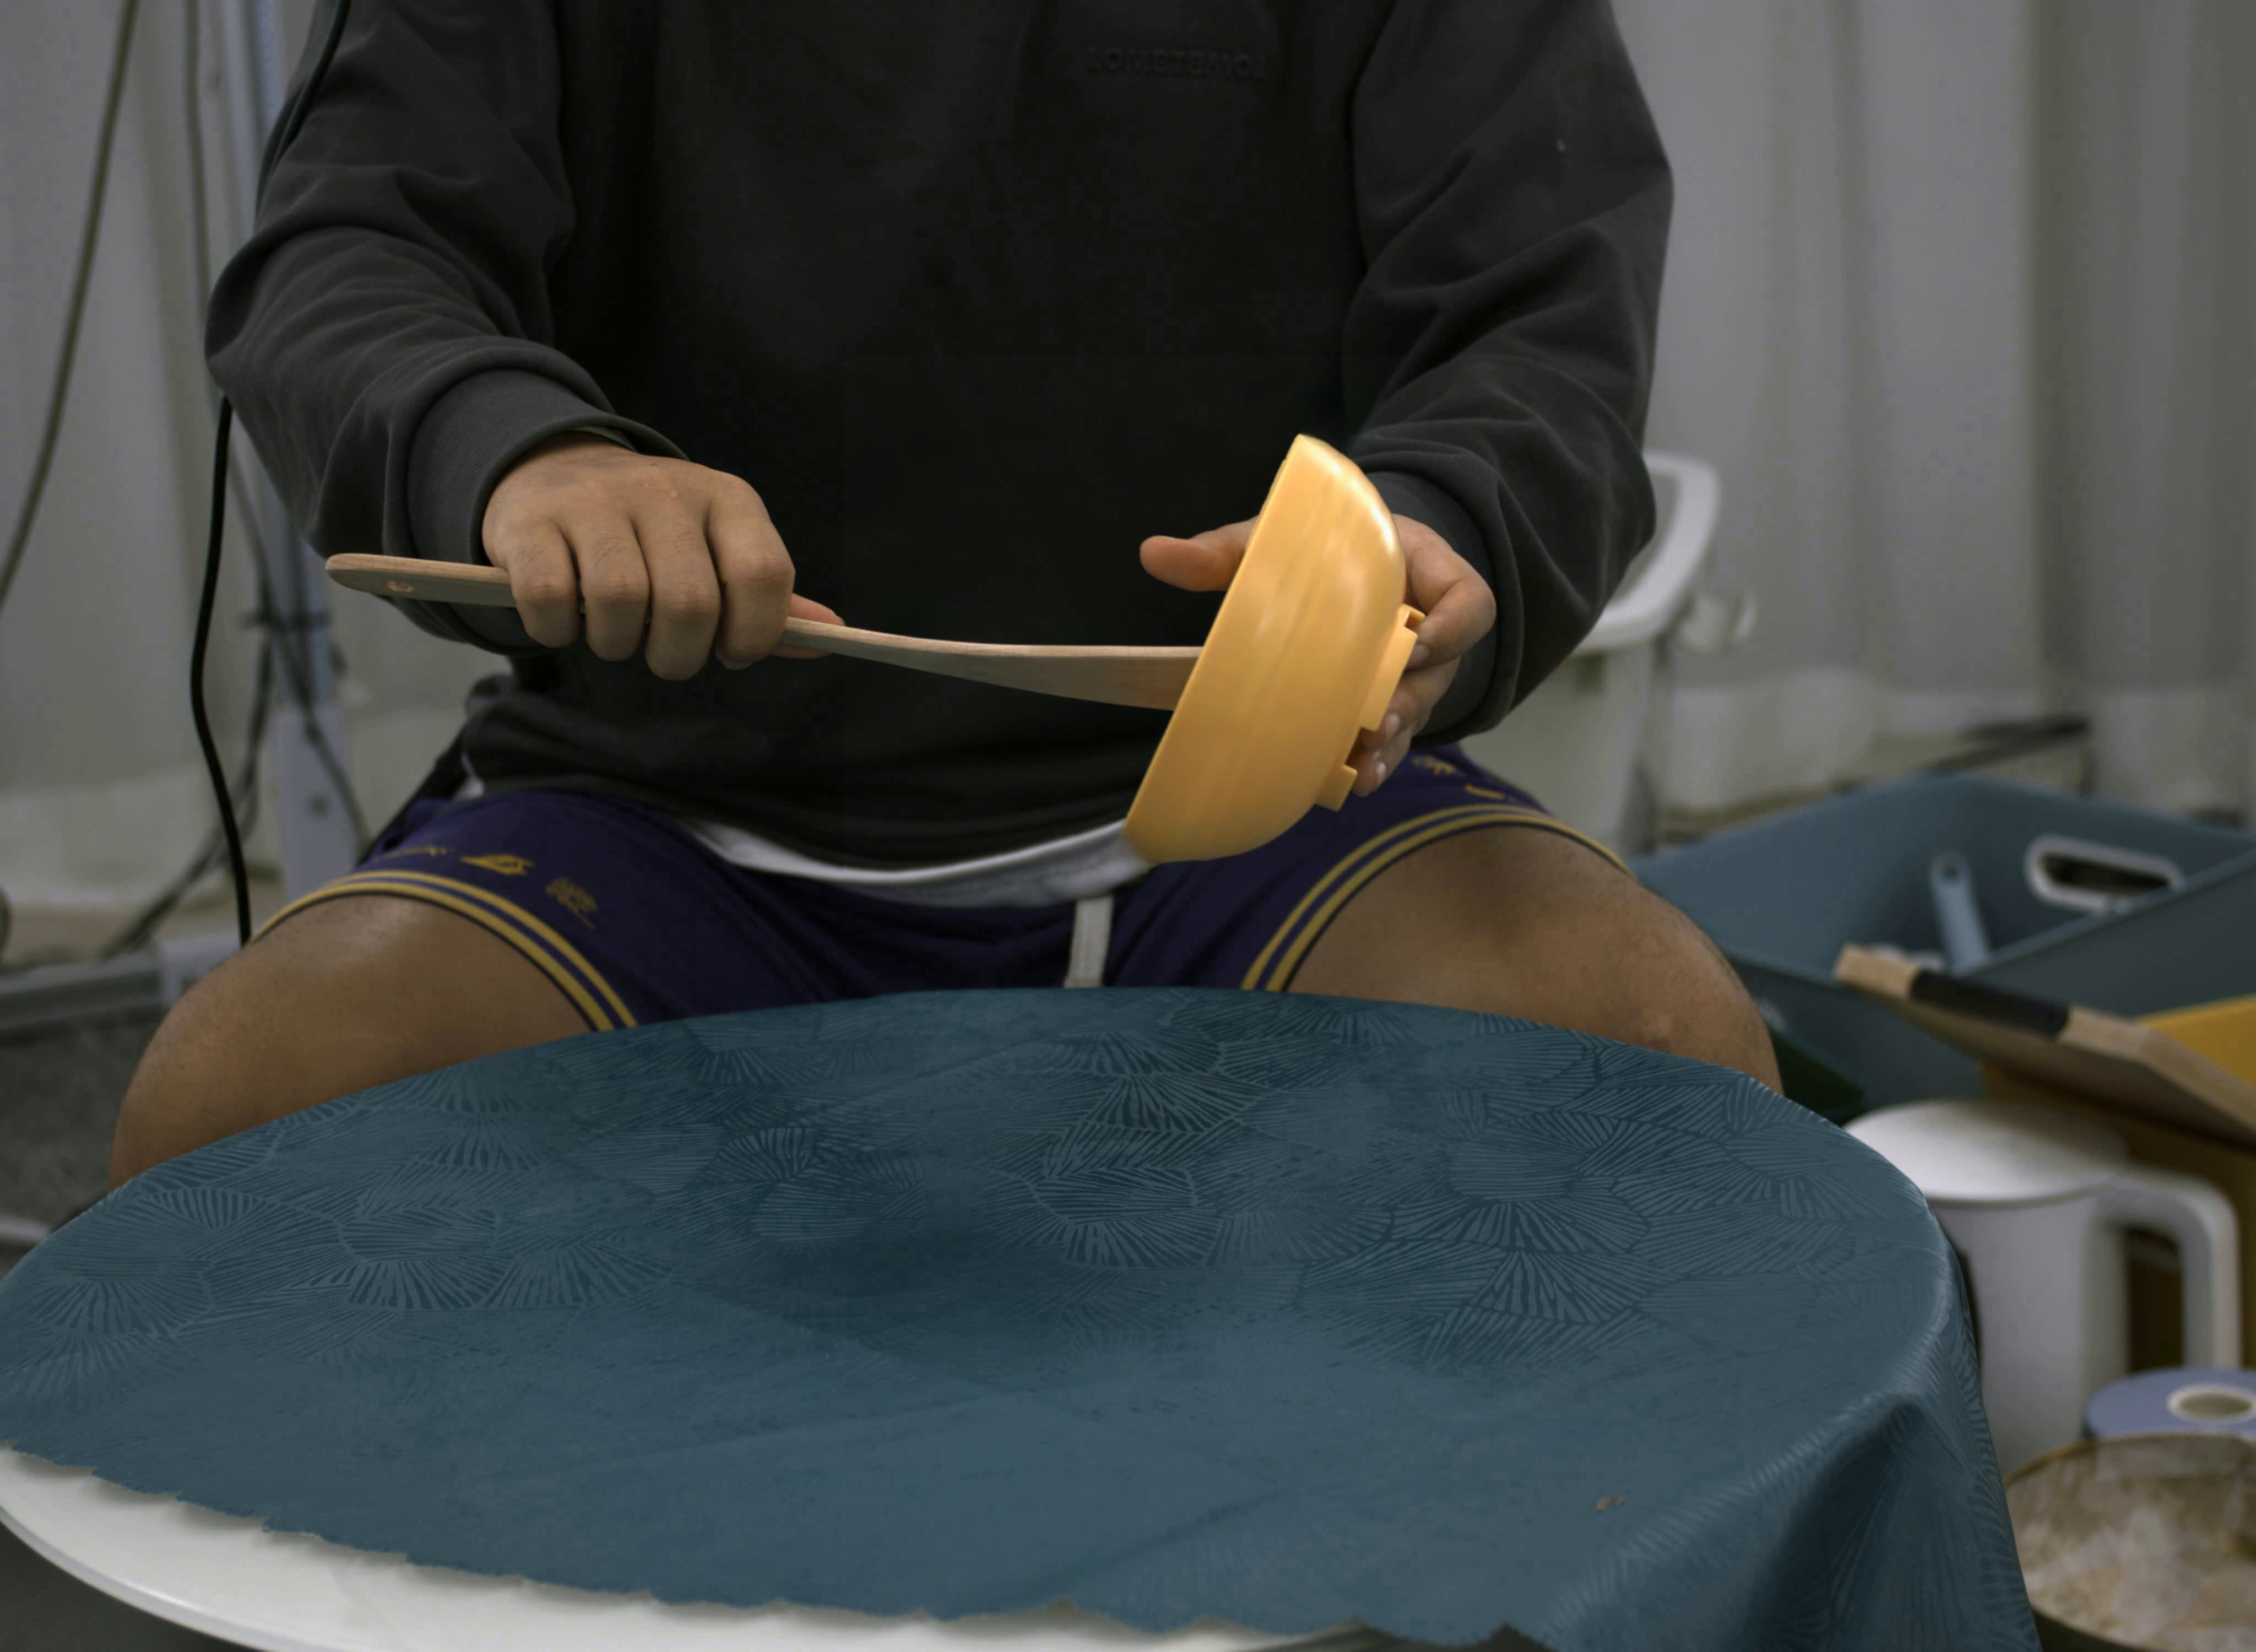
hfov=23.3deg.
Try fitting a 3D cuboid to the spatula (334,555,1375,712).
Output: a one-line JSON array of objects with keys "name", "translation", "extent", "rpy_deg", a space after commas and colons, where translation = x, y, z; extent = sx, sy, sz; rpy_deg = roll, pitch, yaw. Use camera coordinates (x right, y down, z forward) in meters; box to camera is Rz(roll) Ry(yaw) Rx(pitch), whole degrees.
[{"name": "spatula", "translation": [-0.085, -0.061, 1.692], "extent": [0.327, 0.016, 0.079], "rpy_deg": [8, -13, 6]}]

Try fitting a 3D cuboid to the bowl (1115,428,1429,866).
[{"name": "bowl", "translation": [0.053, -0.044, 1.676], "extent": [0.060, 0.144, 0.146], "rpy_deg": [25, 18, 3]}]
